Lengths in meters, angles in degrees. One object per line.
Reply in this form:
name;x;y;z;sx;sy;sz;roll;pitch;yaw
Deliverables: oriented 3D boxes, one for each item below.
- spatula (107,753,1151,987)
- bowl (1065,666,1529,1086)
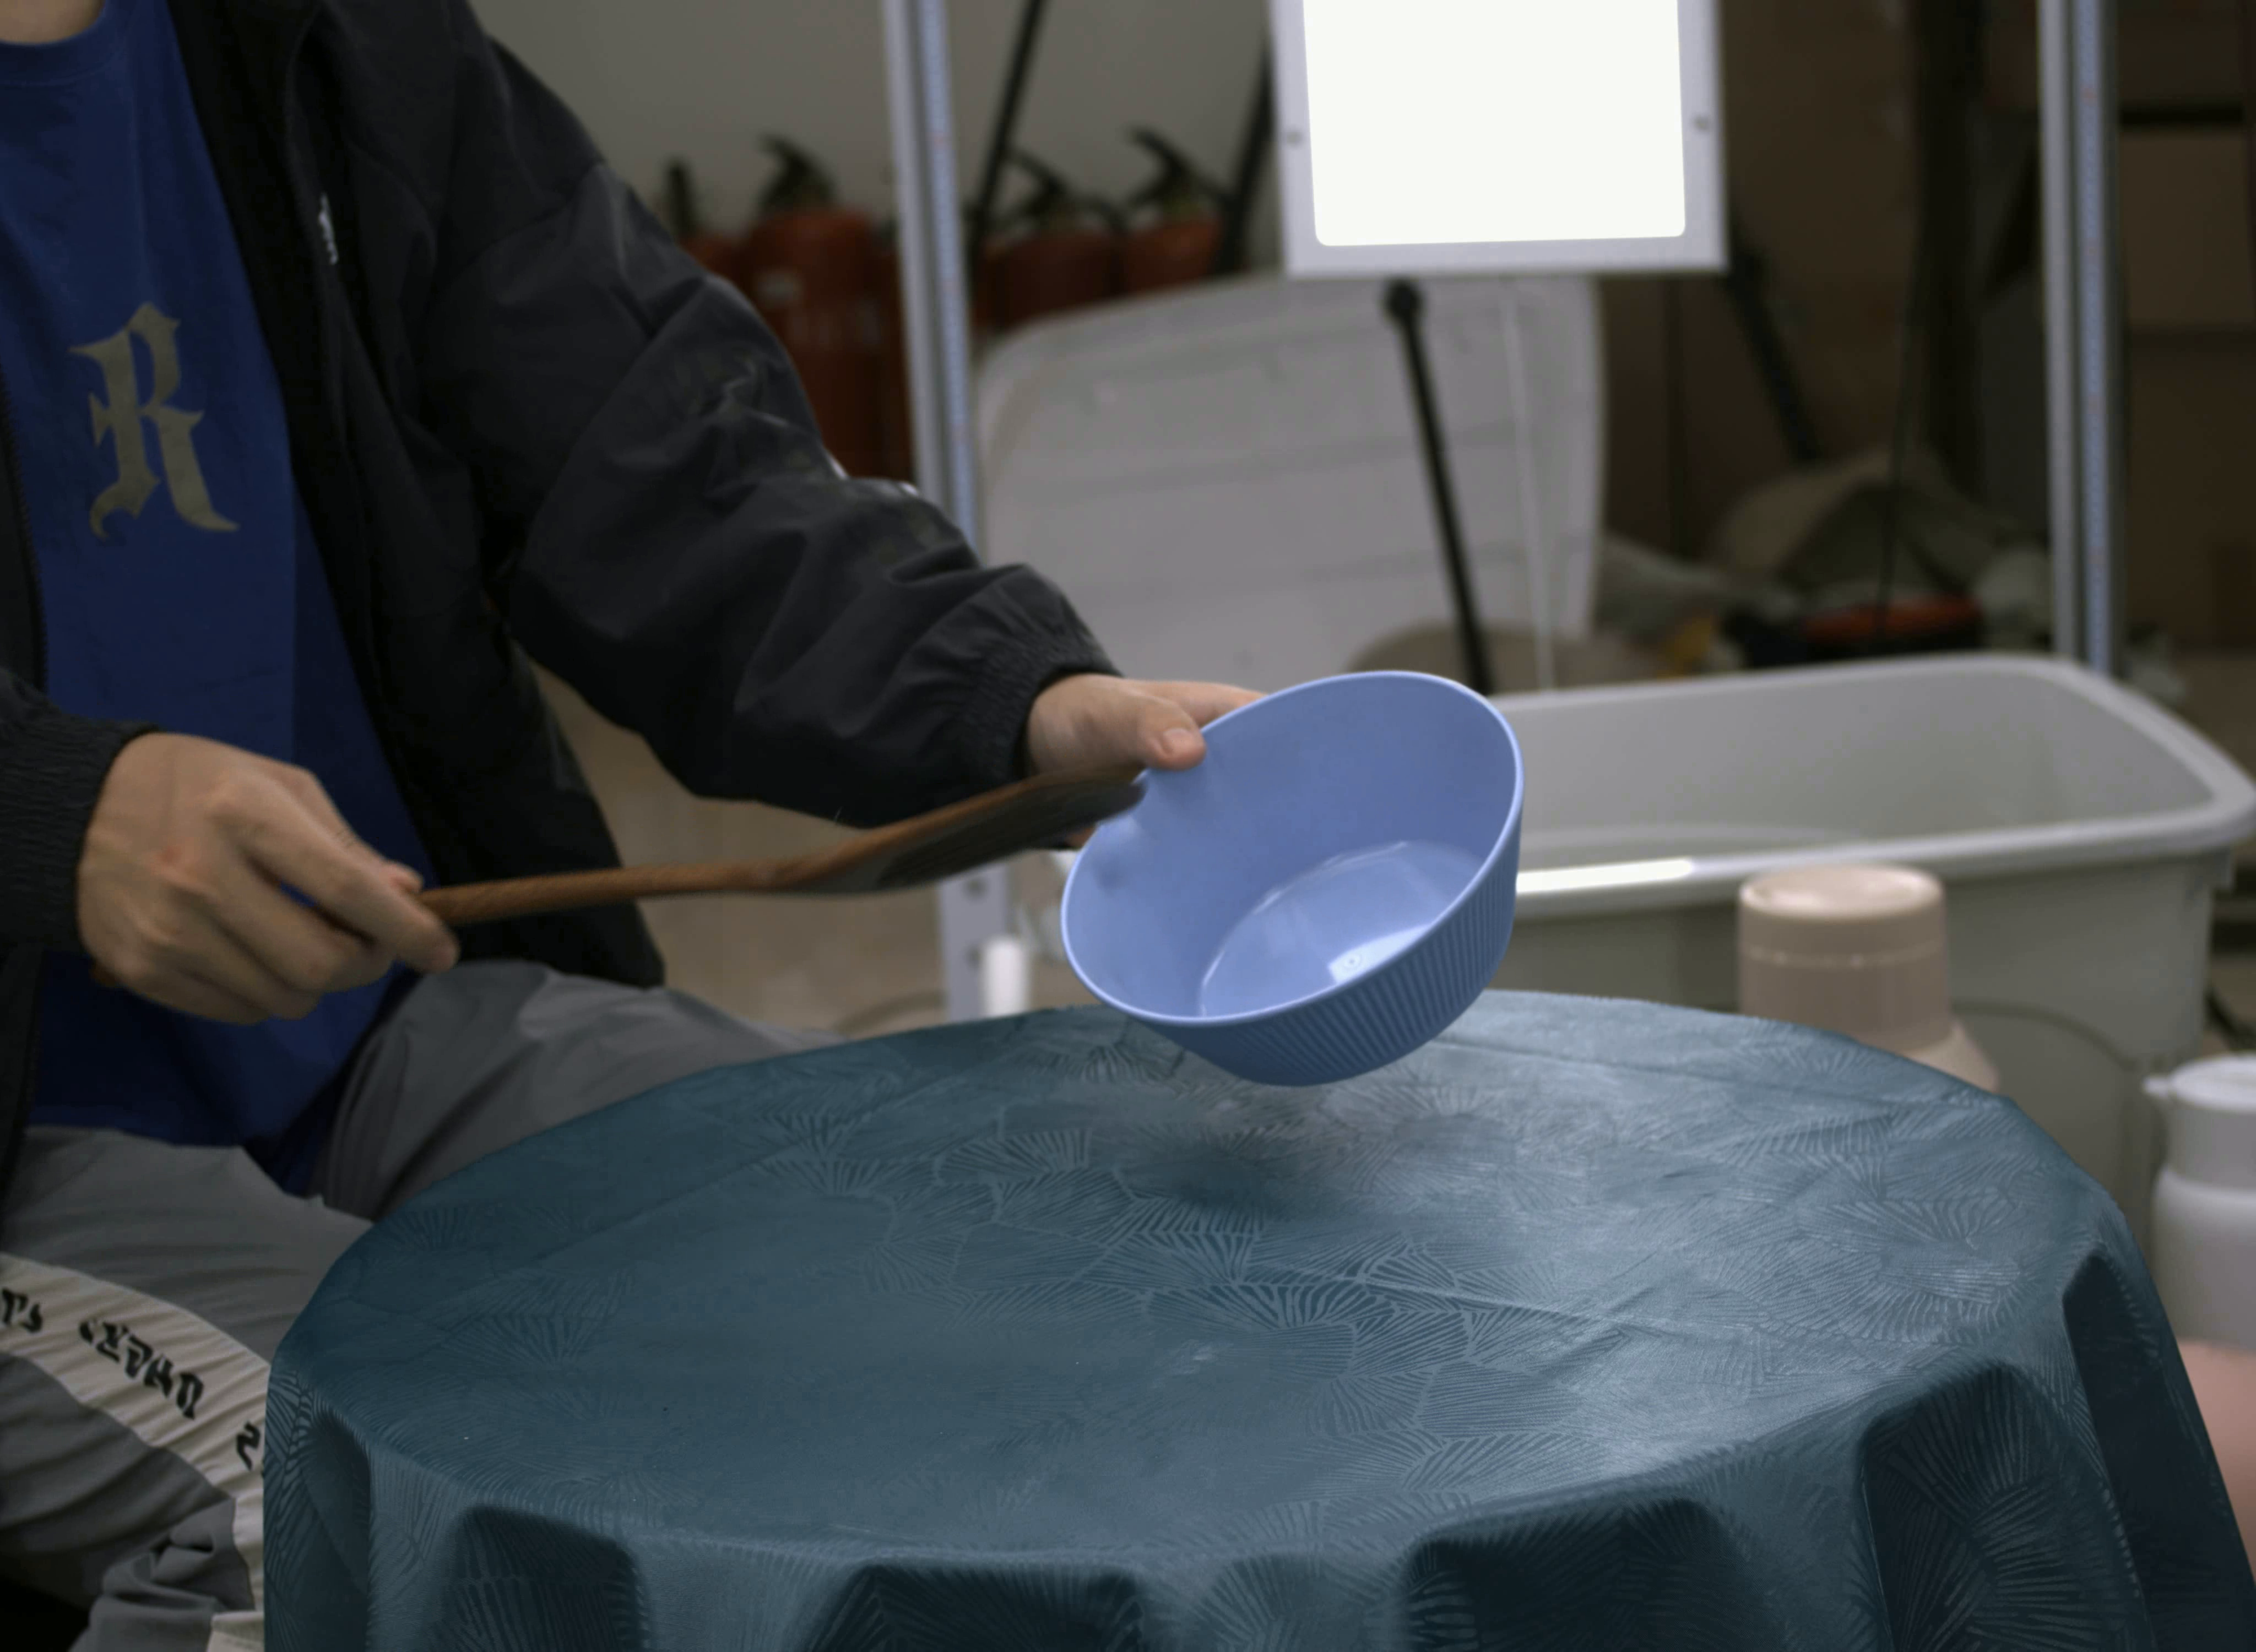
spatula;-0.174;0.019;1.813;0.393;0.024;0.084;-10;-7;26
bowl;0.070;0.028;1.934;0.178;0.070;0.175;-20;37;15
